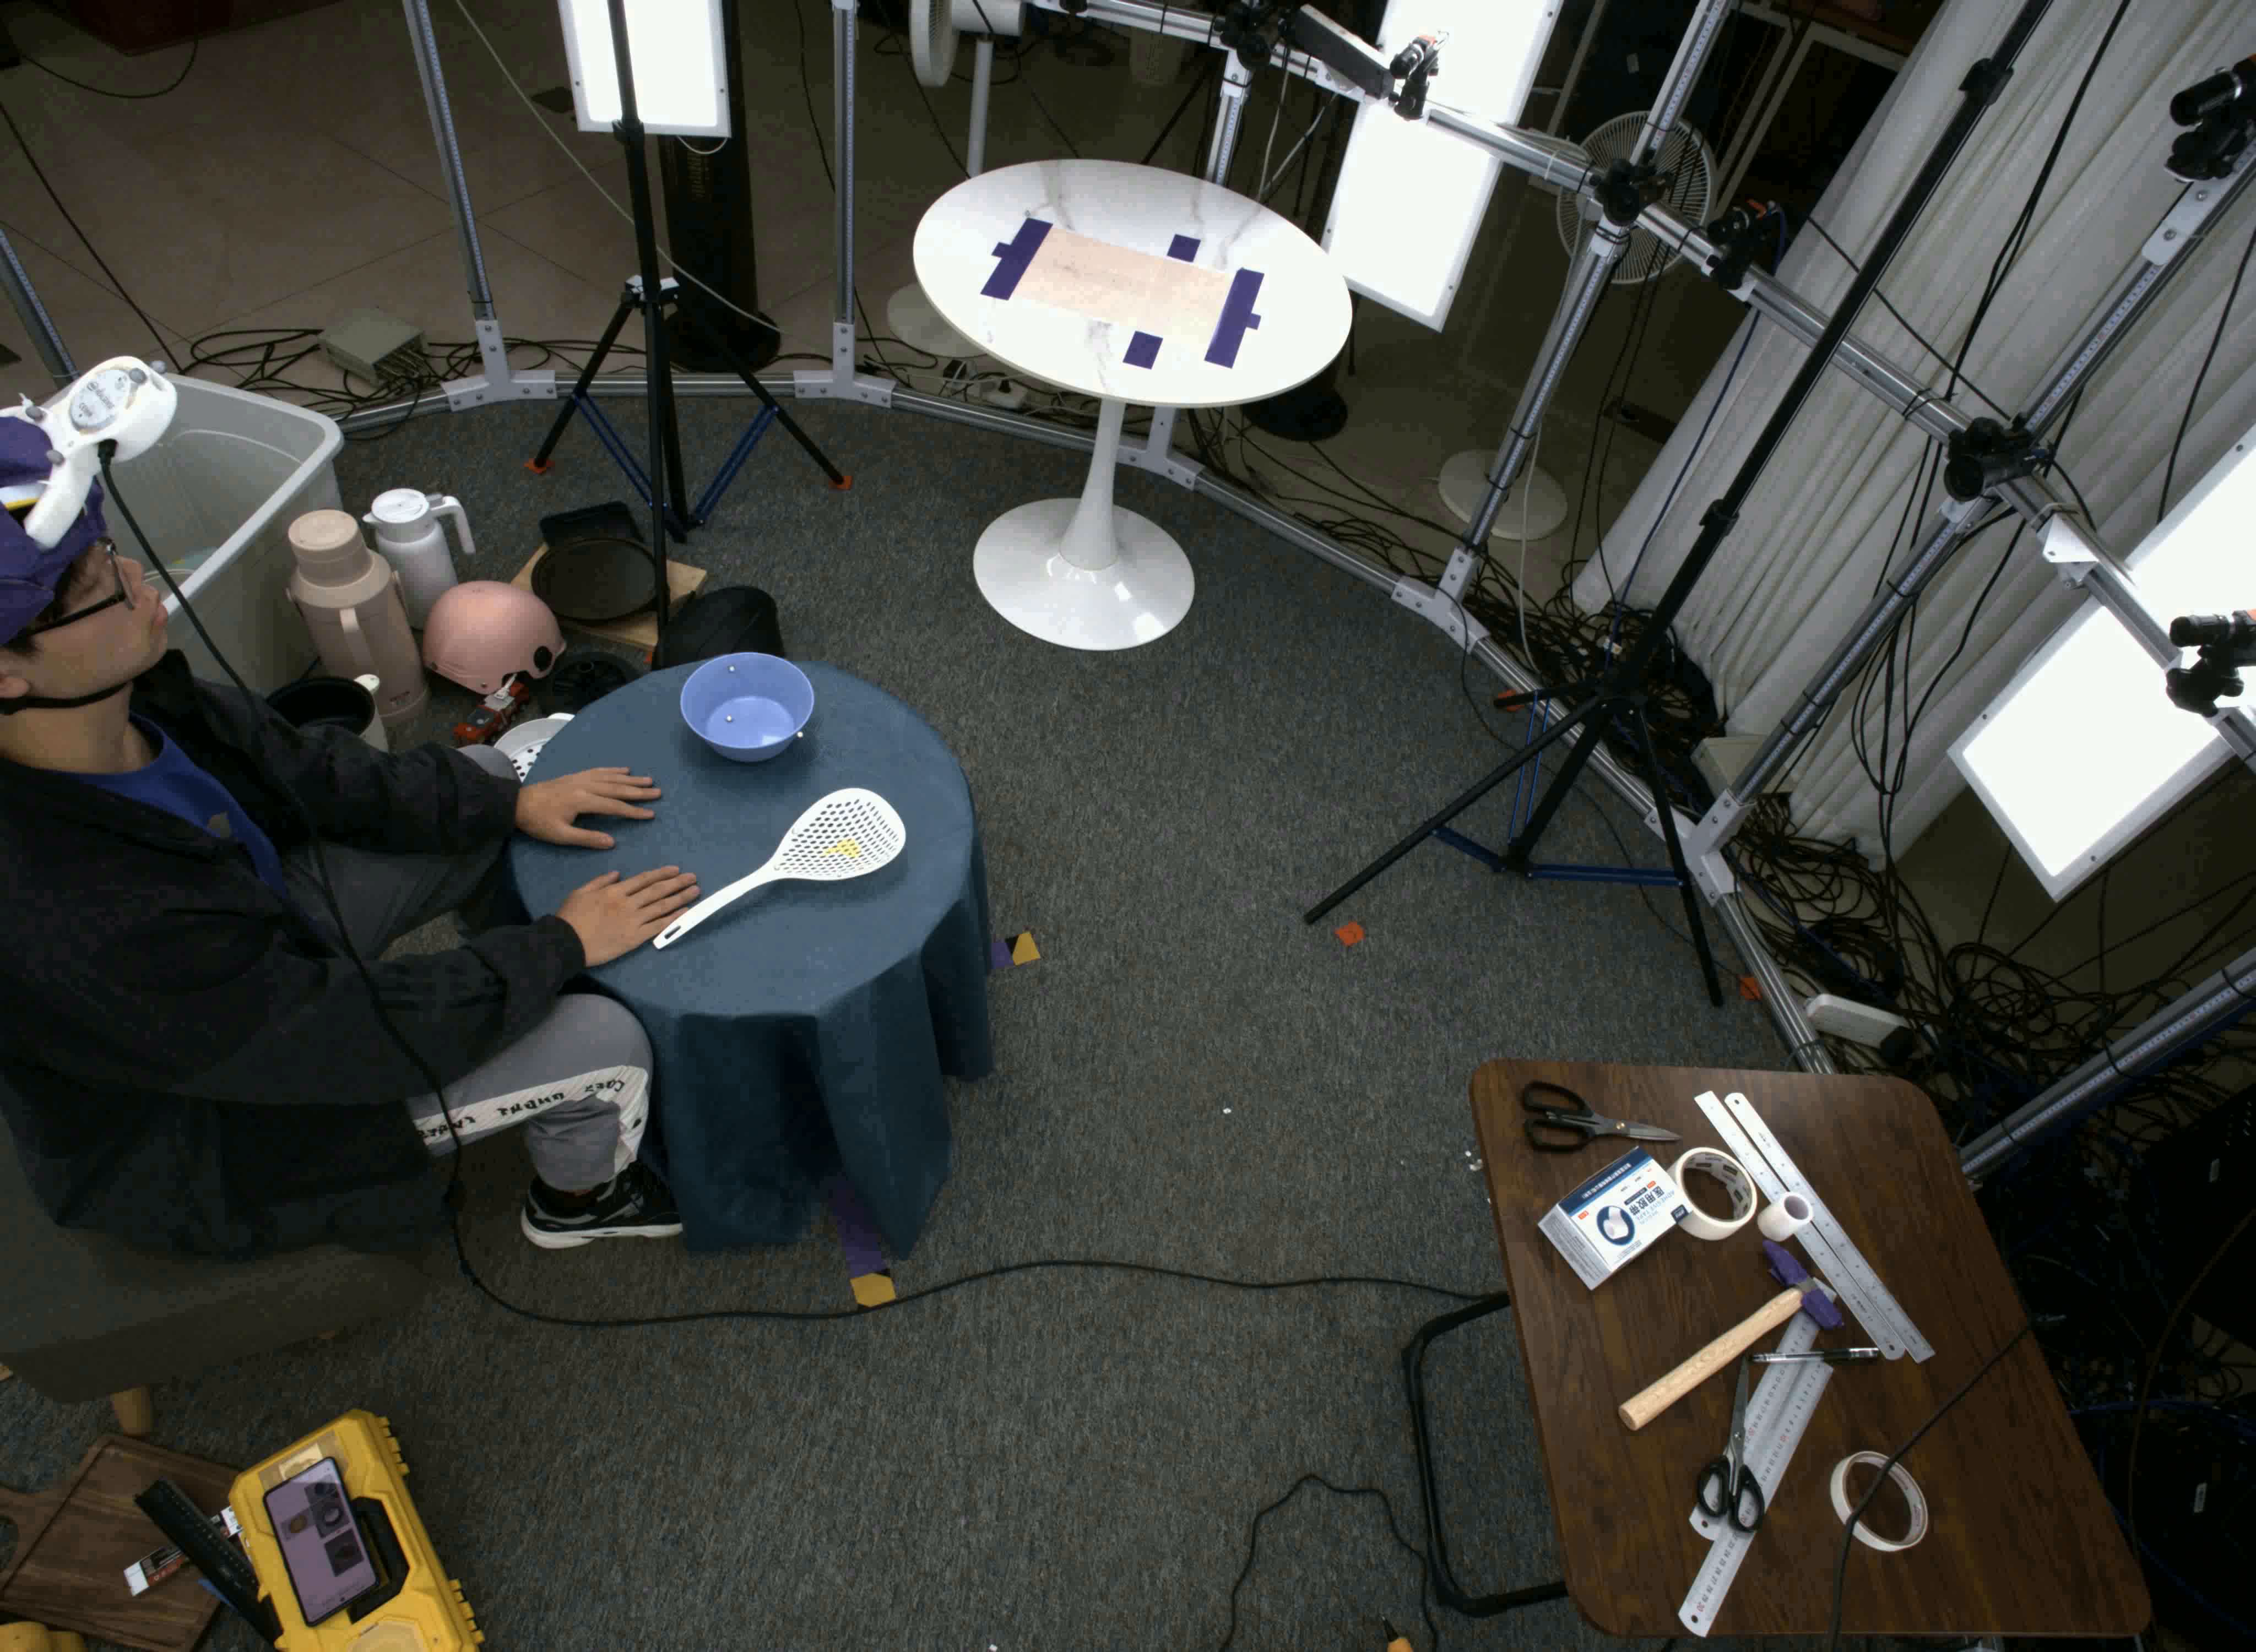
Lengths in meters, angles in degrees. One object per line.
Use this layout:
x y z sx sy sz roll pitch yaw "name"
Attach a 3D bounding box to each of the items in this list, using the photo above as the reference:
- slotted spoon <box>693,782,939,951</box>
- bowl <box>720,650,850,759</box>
-0.405 0.057 1.669 0.349 0.051 0.134 -29 69 -29 "slotted spoon"
-0.474 -0.158 1.793 0.175 0.072 0.173 7 52 -8 "bowl"
